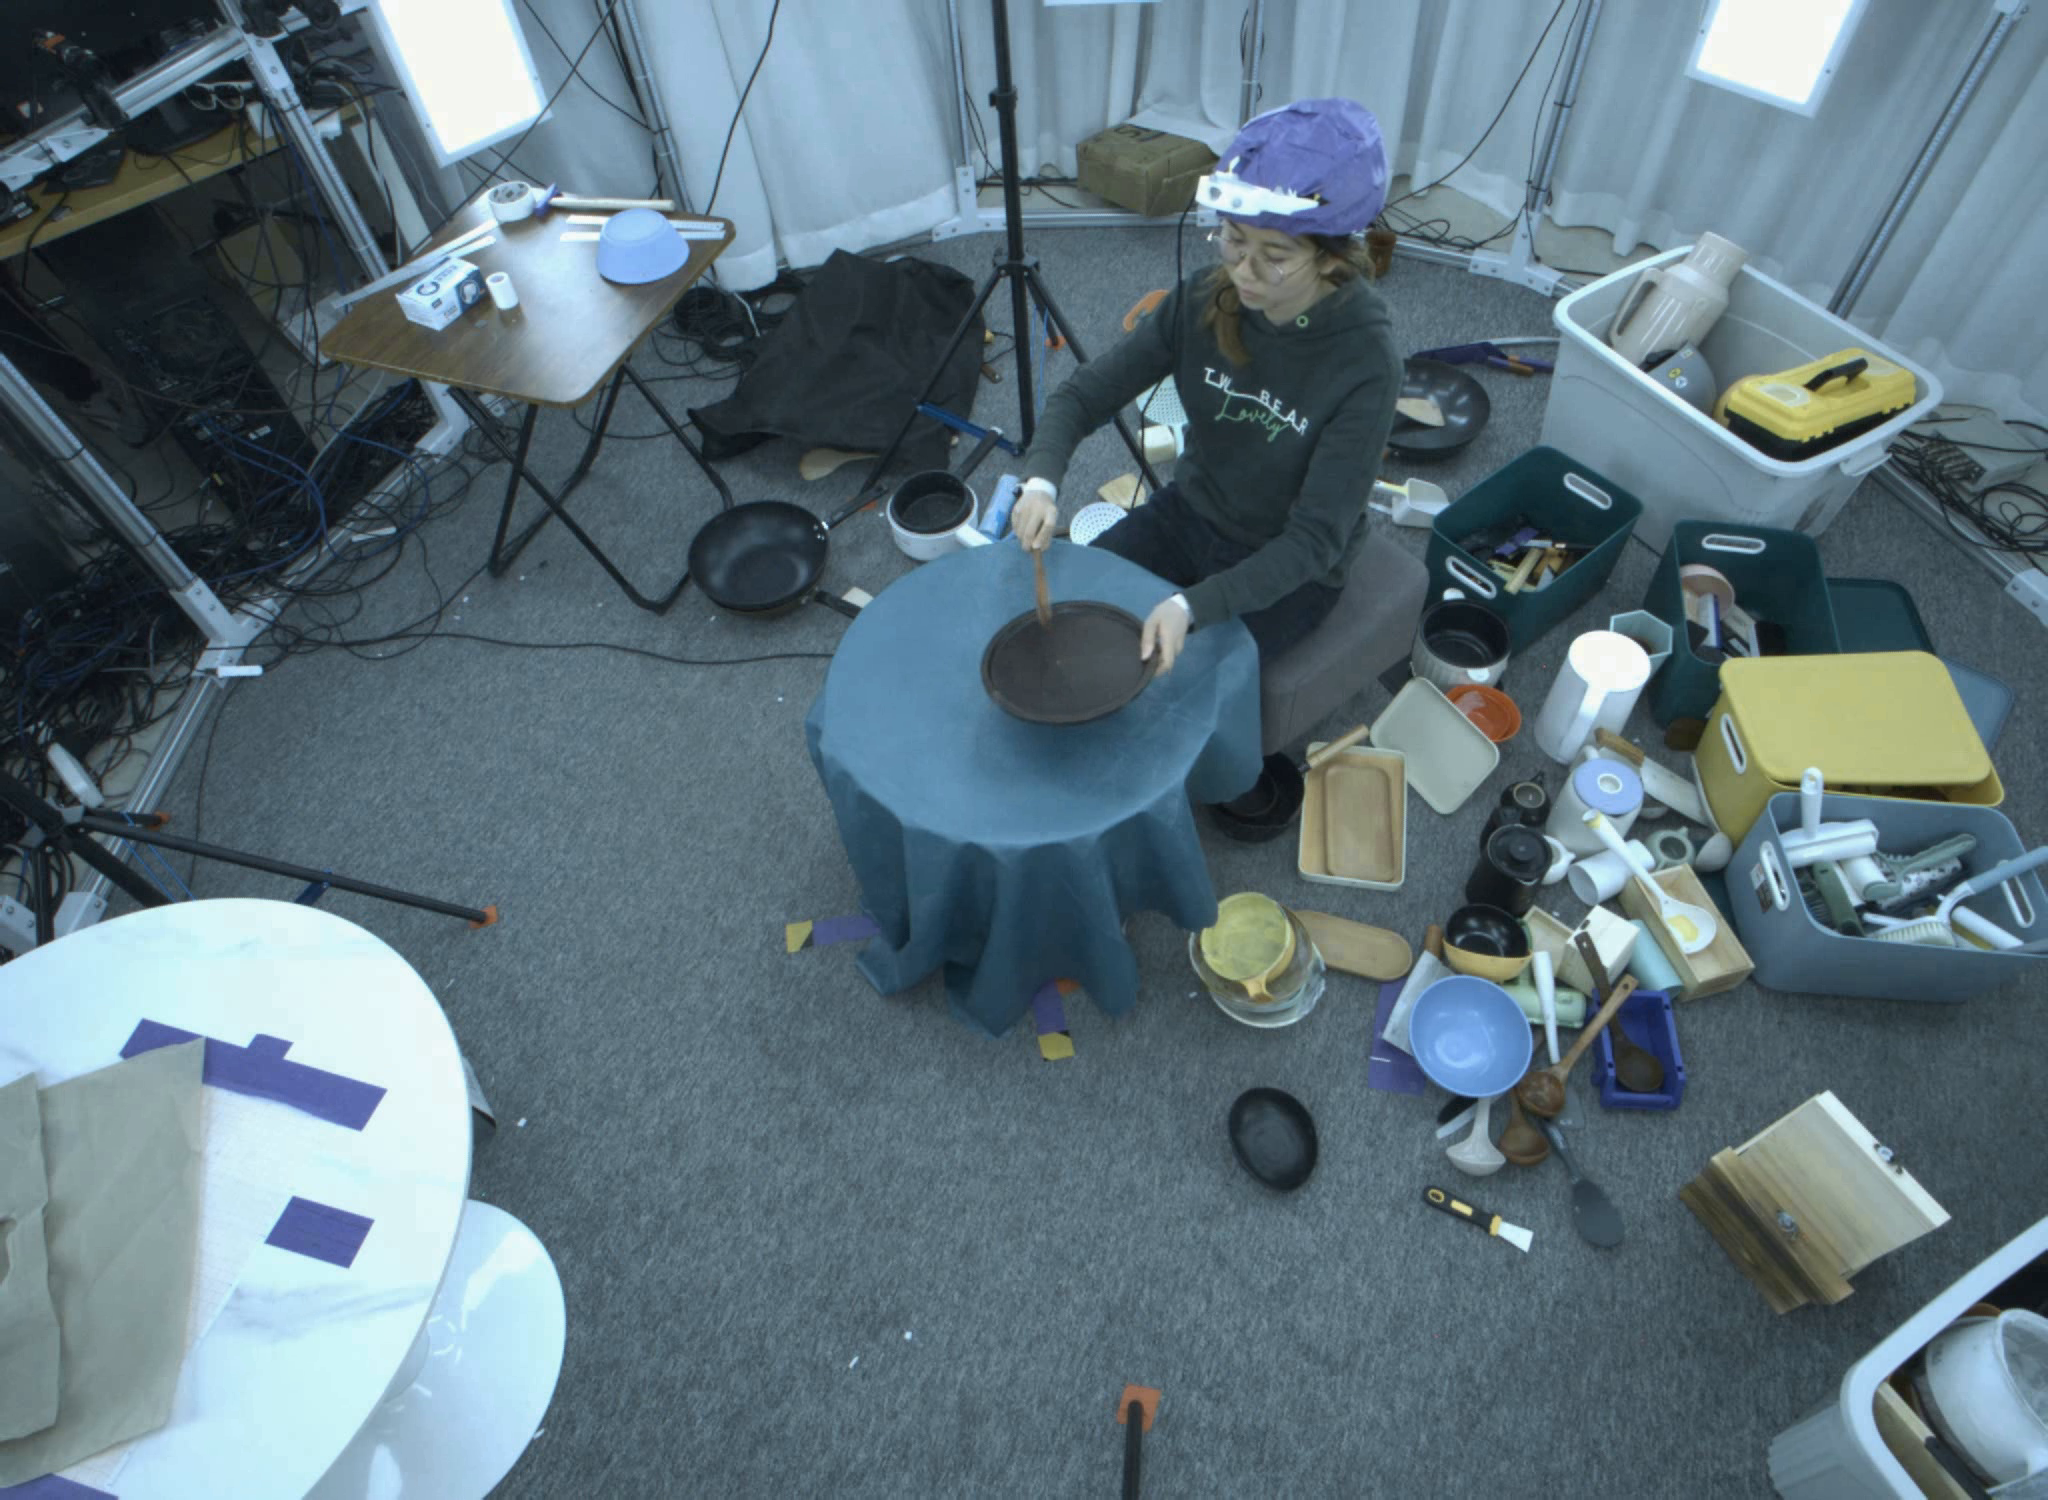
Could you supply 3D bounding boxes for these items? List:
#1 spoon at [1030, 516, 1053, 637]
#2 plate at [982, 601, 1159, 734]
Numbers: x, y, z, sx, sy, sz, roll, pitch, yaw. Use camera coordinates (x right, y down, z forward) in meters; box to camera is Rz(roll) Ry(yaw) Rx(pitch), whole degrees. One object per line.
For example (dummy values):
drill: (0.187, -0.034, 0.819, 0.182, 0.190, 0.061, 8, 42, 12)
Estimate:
spoon: (0.023, -0.255, 1.772, 0.017, 0.076, 0.213, -4, 58, -3)
plate: (0.066, -0.117, 1.753, 0.254, 0.029, 0.252, -4, 49, 6)
